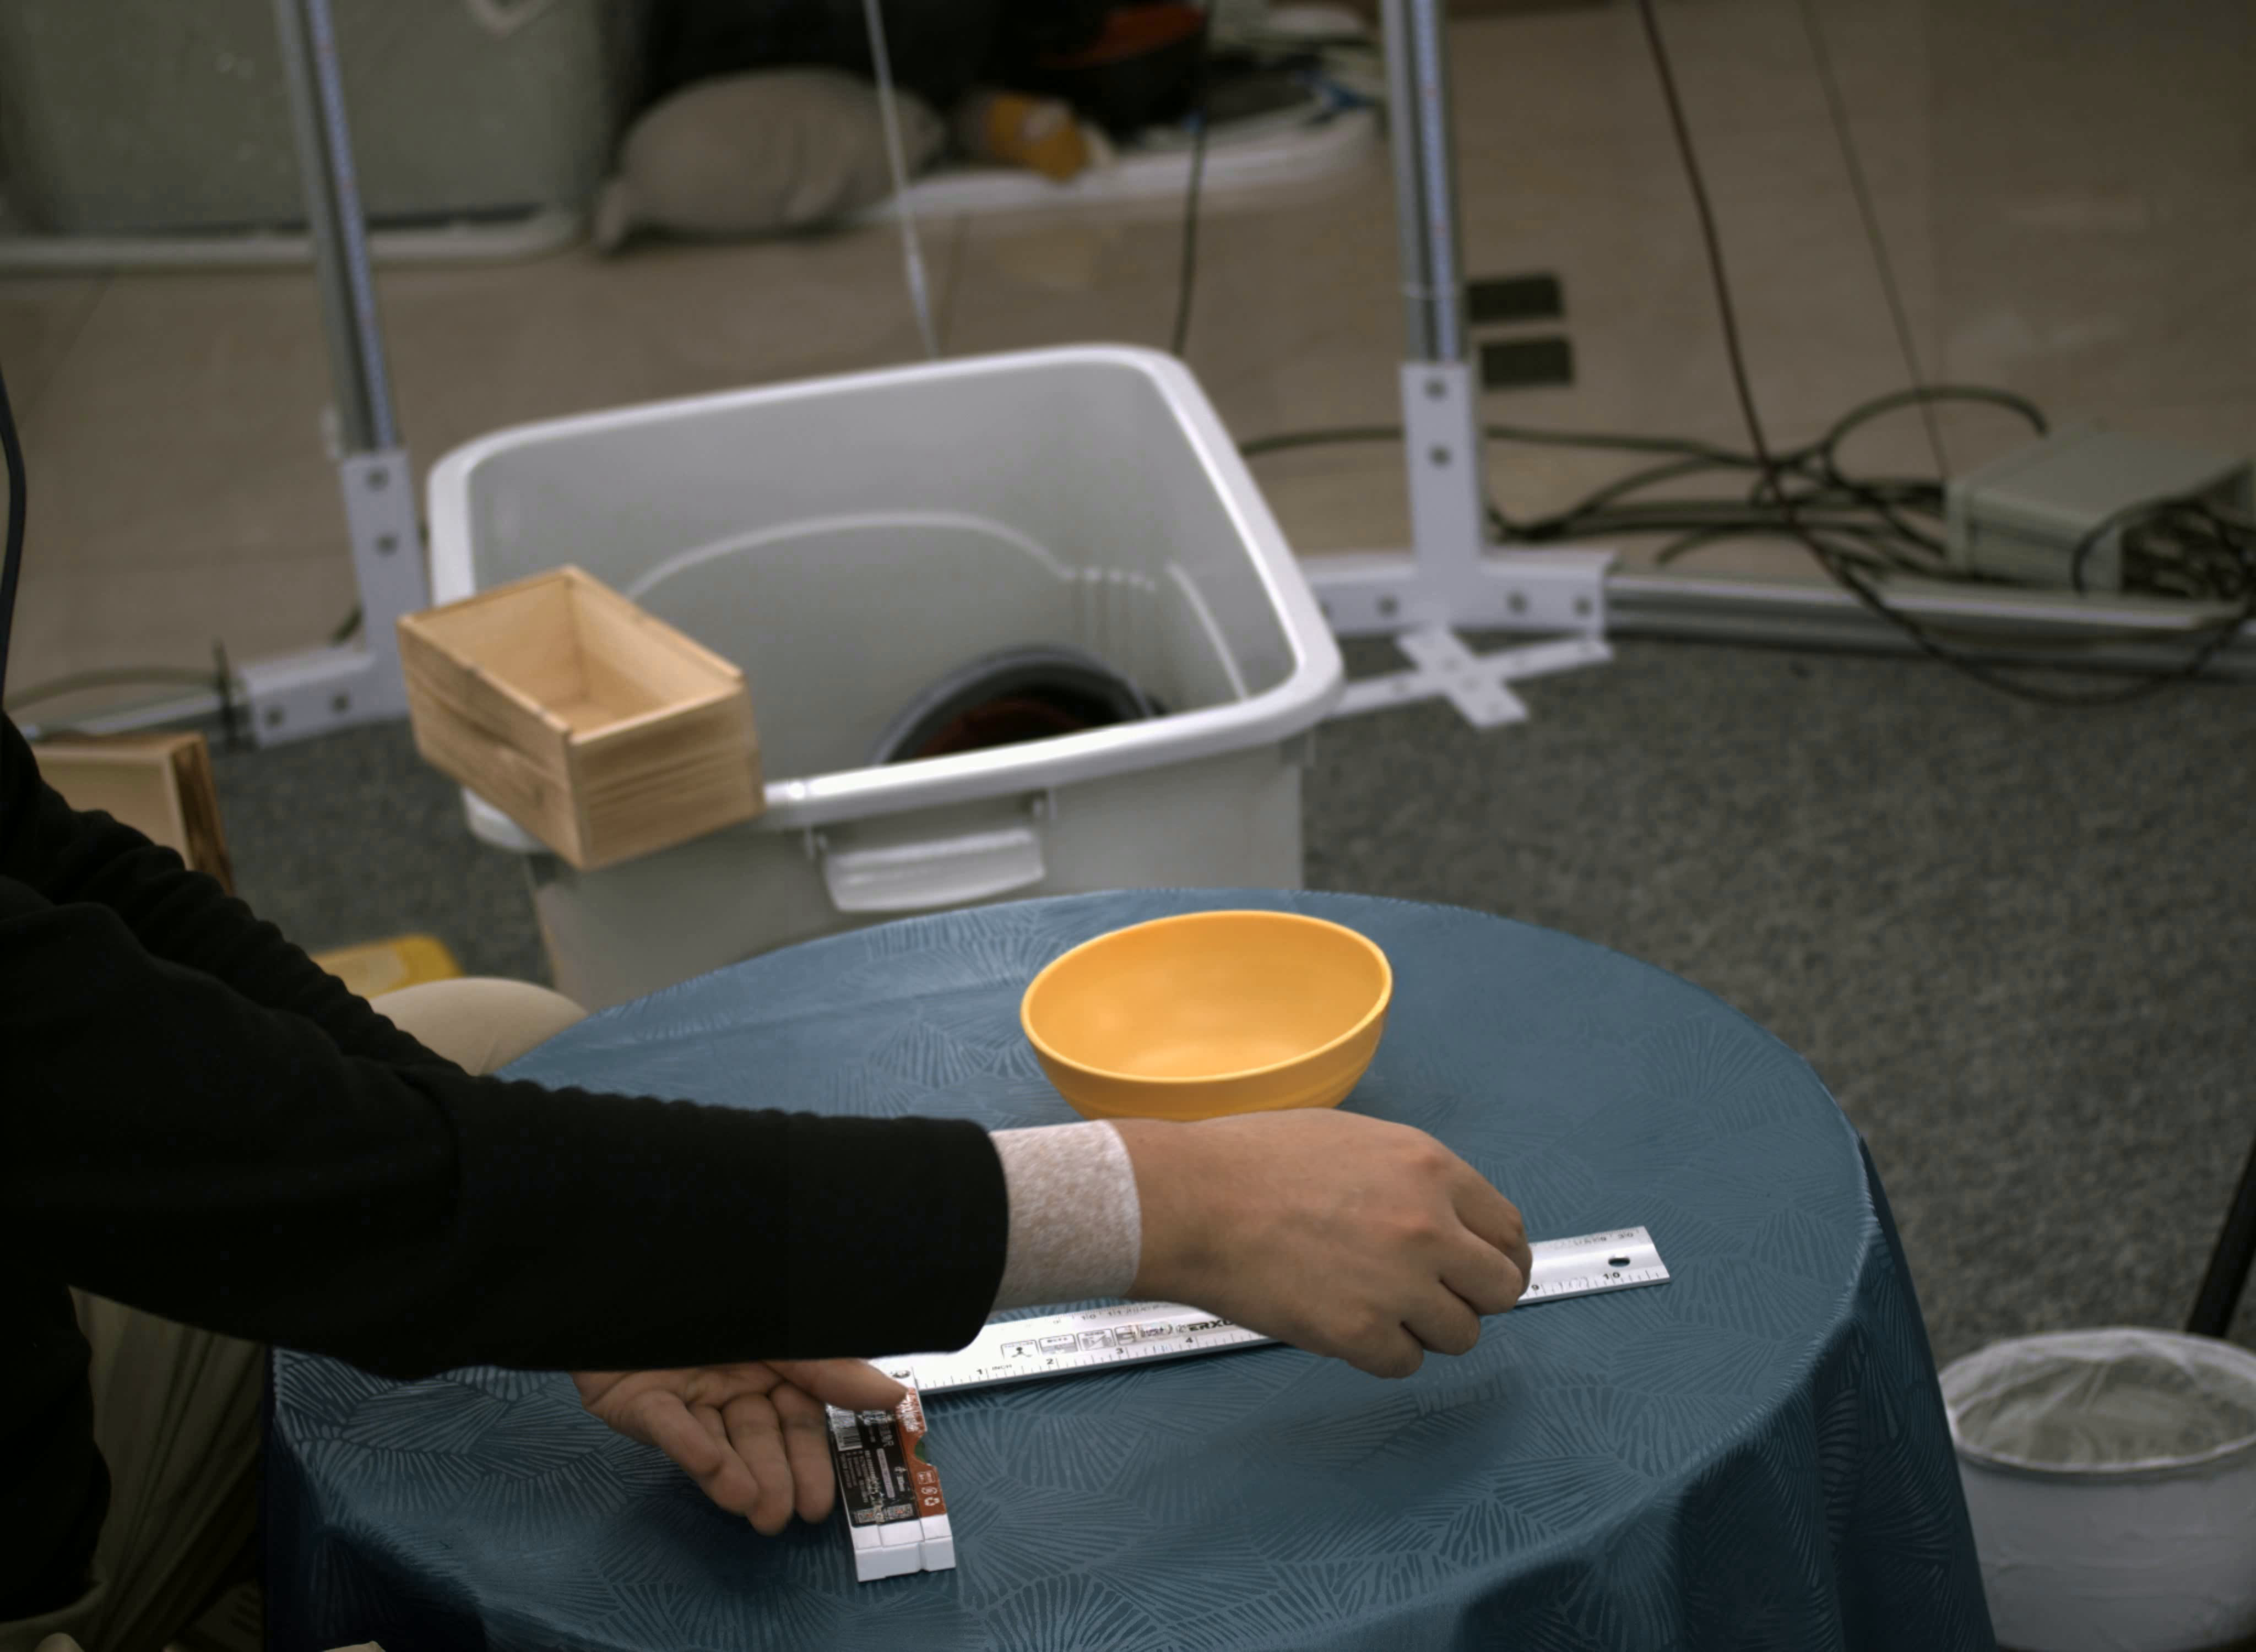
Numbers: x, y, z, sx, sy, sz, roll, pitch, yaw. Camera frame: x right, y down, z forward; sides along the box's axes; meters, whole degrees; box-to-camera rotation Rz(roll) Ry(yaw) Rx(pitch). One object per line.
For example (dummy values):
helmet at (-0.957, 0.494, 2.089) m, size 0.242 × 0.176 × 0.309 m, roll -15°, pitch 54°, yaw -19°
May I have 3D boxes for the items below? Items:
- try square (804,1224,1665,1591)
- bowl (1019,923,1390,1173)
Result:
try square at (0.046, 0.200, 2.000) m, size 0.312 × 0.016 × 0.150 m, roll -8°, pitch 27°, yaw -6°
bowl at (0.033, 0.092, 2.174) m, size 0.145 × 0.061 × 0.143 m, roll -8°, pitch 23°, yaw 3°
